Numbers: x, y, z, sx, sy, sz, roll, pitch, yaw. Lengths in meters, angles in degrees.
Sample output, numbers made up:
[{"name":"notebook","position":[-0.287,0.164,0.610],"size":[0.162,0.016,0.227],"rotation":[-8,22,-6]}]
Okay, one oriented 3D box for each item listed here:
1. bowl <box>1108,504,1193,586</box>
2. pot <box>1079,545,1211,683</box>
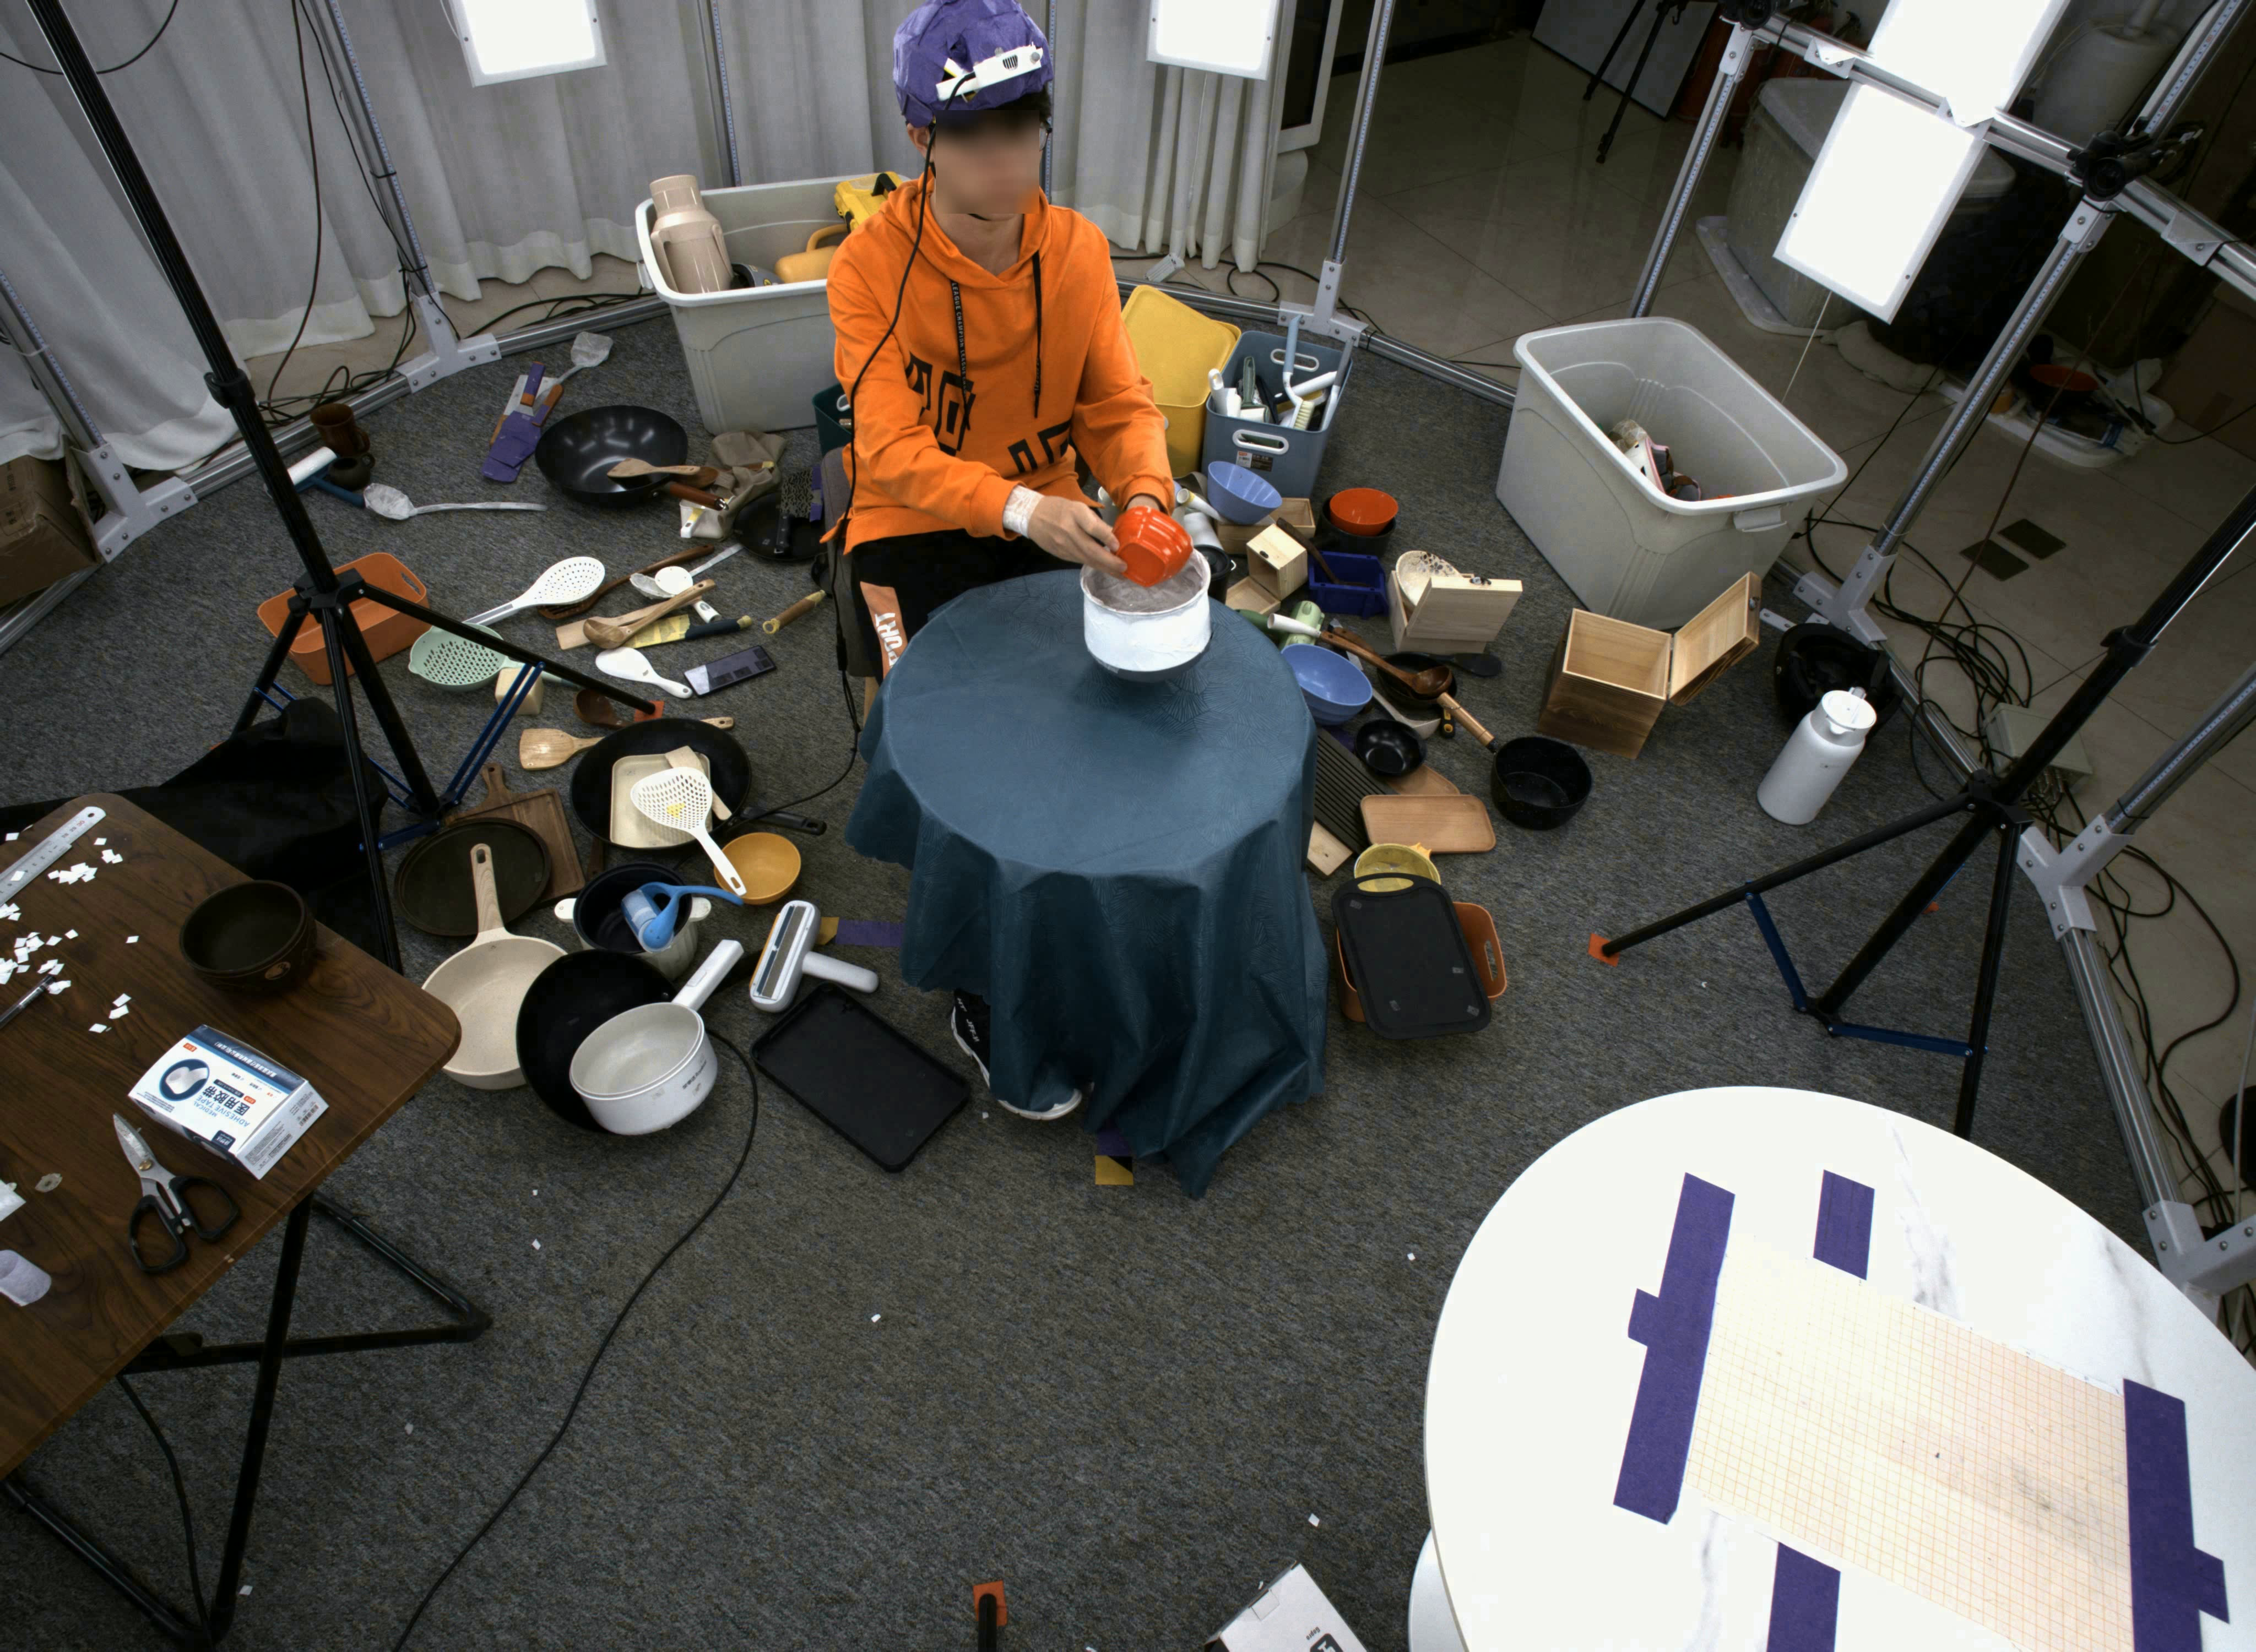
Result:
[{"name":"bowl","position":[0.023,-0.365,1.711],"size":[0.119,0.116,0.052],"rotation":[17,55,10]},{"name":"pot","position":[0.022,-0.315,1.793],"size":[0.178,0.133,0.240],"rotation":[-6,45,-3]}]
